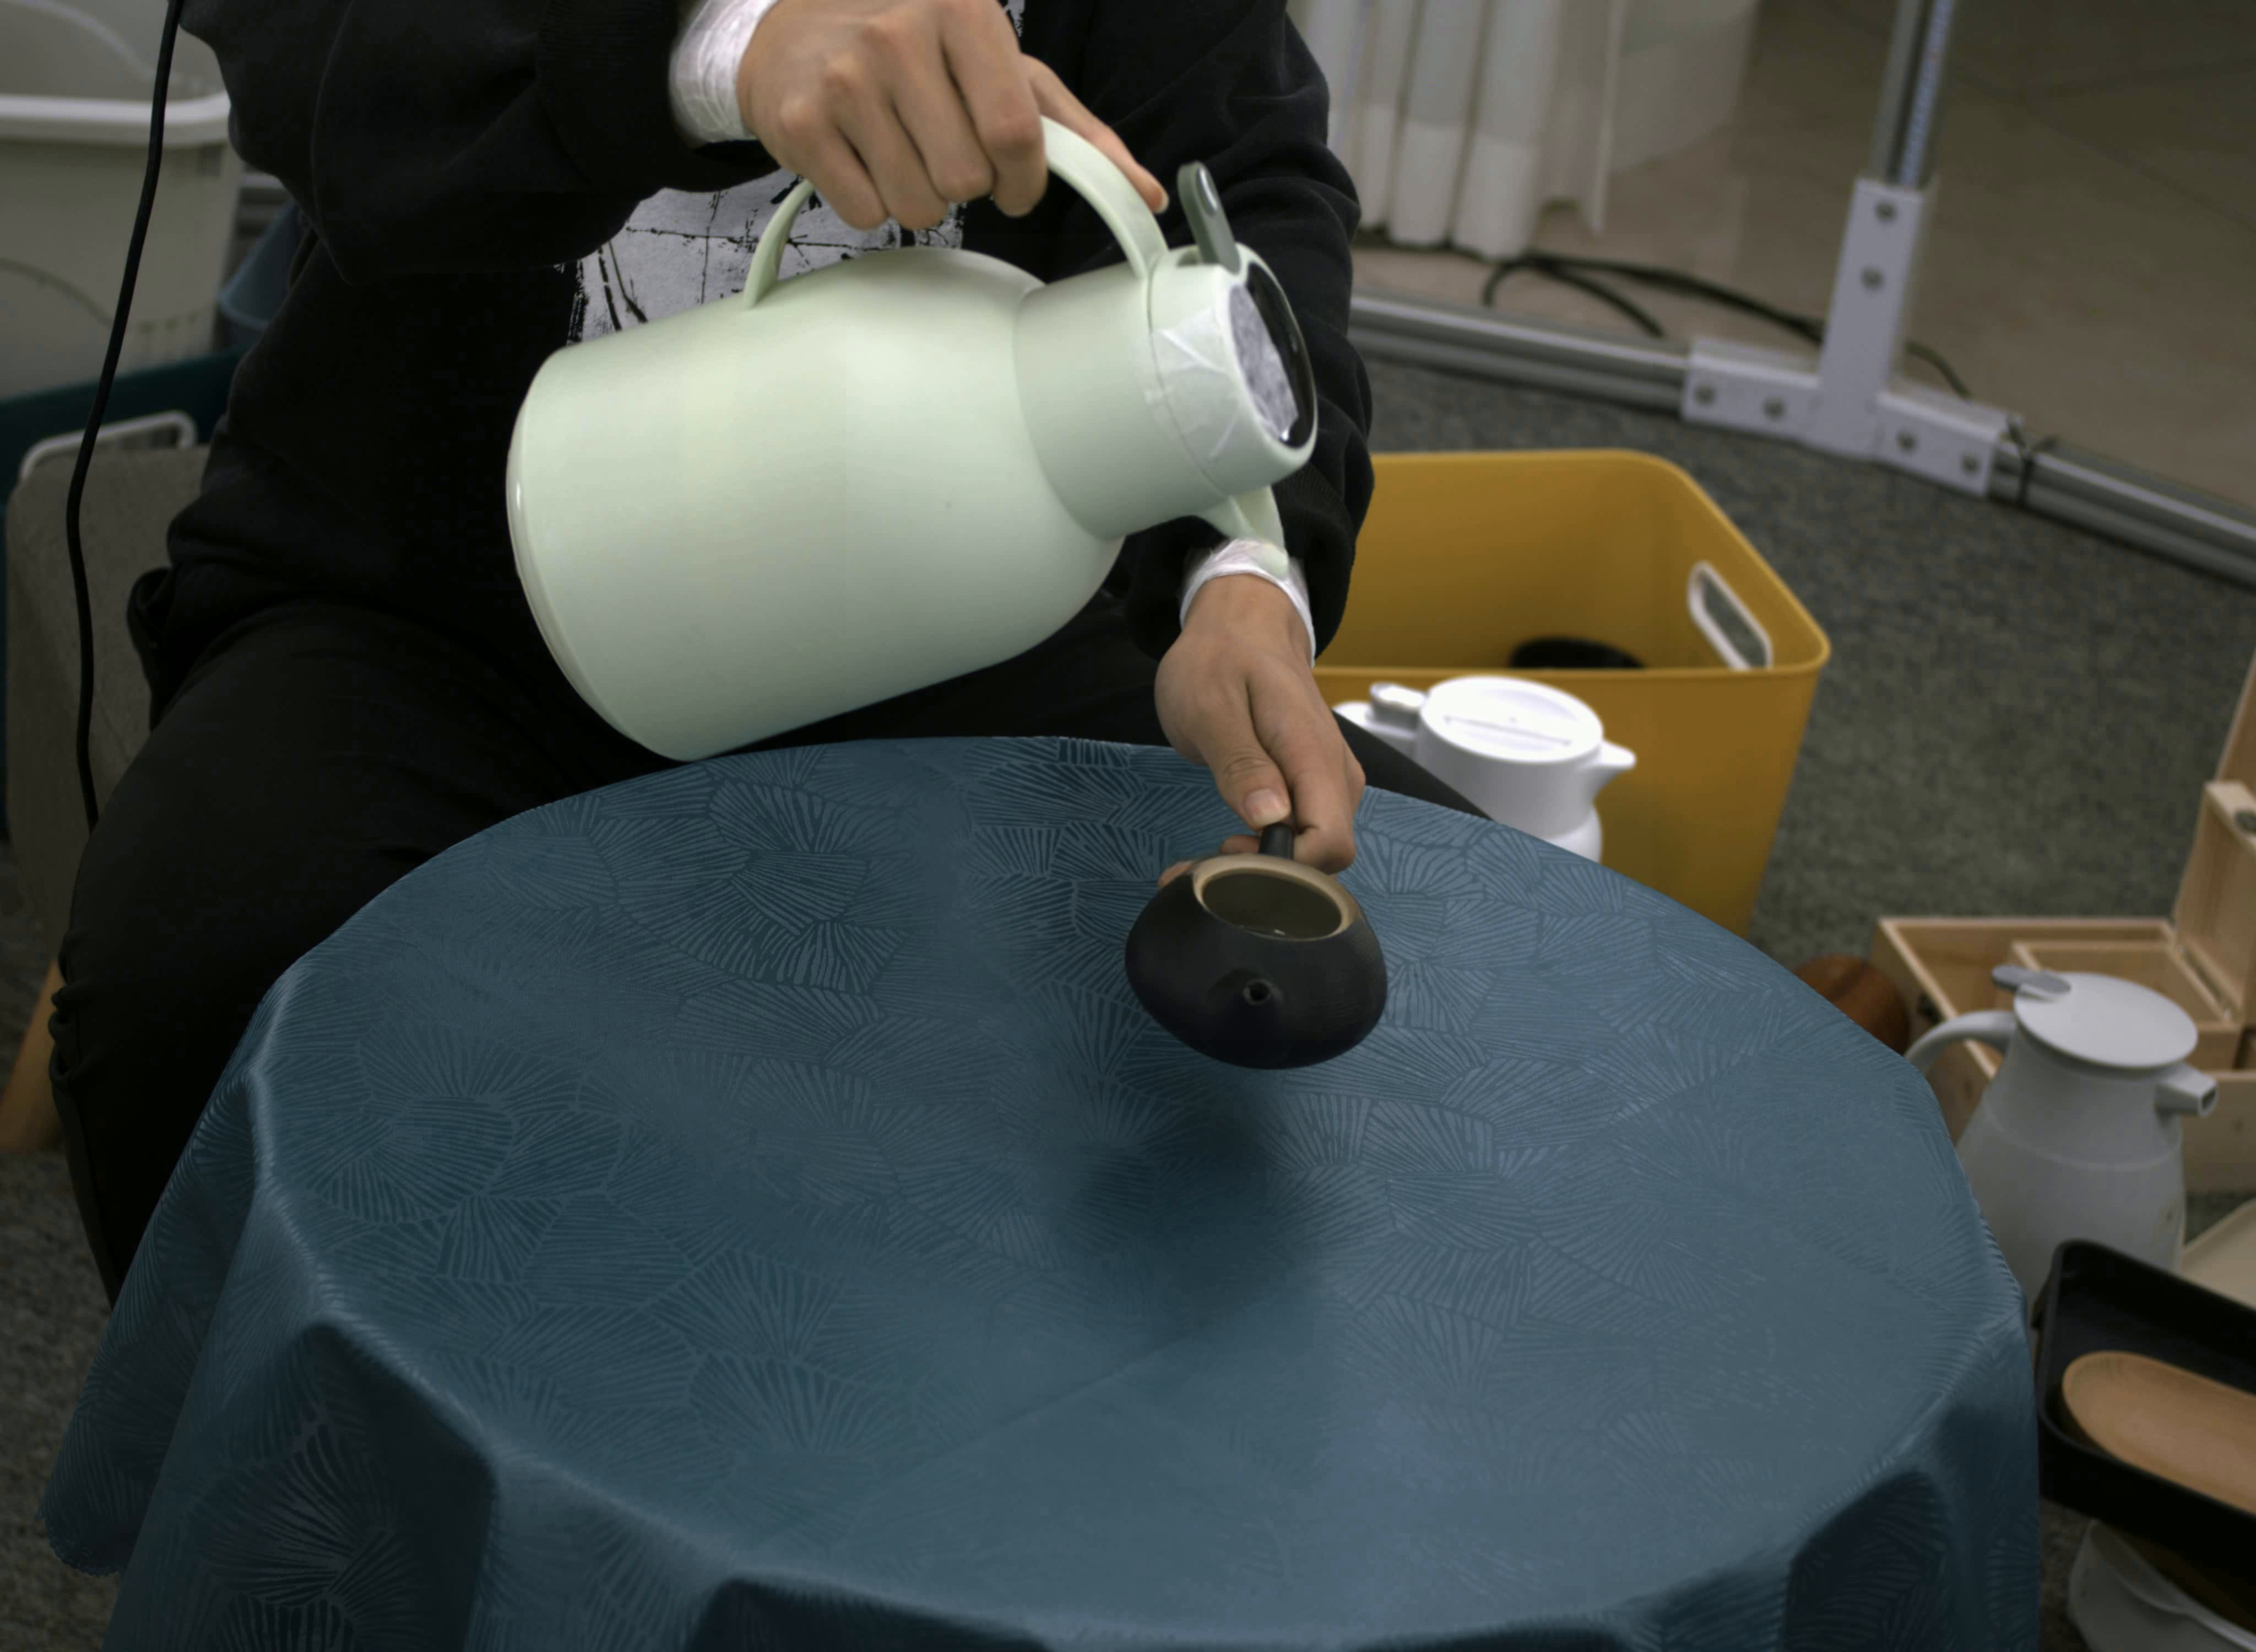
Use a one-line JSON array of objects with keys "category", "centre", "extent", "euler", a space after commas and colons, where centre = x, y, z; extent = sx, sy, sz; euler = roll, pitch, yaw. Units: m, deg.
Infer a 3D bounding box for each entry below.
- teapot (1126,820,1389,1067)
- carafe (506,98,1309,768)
[{"category": "teapot", "centre": [0.045, 0.045, 1.807], "extent": [0.091, 0.053, 0.134], "euler": [13, 28, 0]}, {"category": "carafe", "centre": [-0.073, -0.132, 1.743], "extent": [0.257, 0.186, 0.144], "euler": [-21, 16, 24]}]
